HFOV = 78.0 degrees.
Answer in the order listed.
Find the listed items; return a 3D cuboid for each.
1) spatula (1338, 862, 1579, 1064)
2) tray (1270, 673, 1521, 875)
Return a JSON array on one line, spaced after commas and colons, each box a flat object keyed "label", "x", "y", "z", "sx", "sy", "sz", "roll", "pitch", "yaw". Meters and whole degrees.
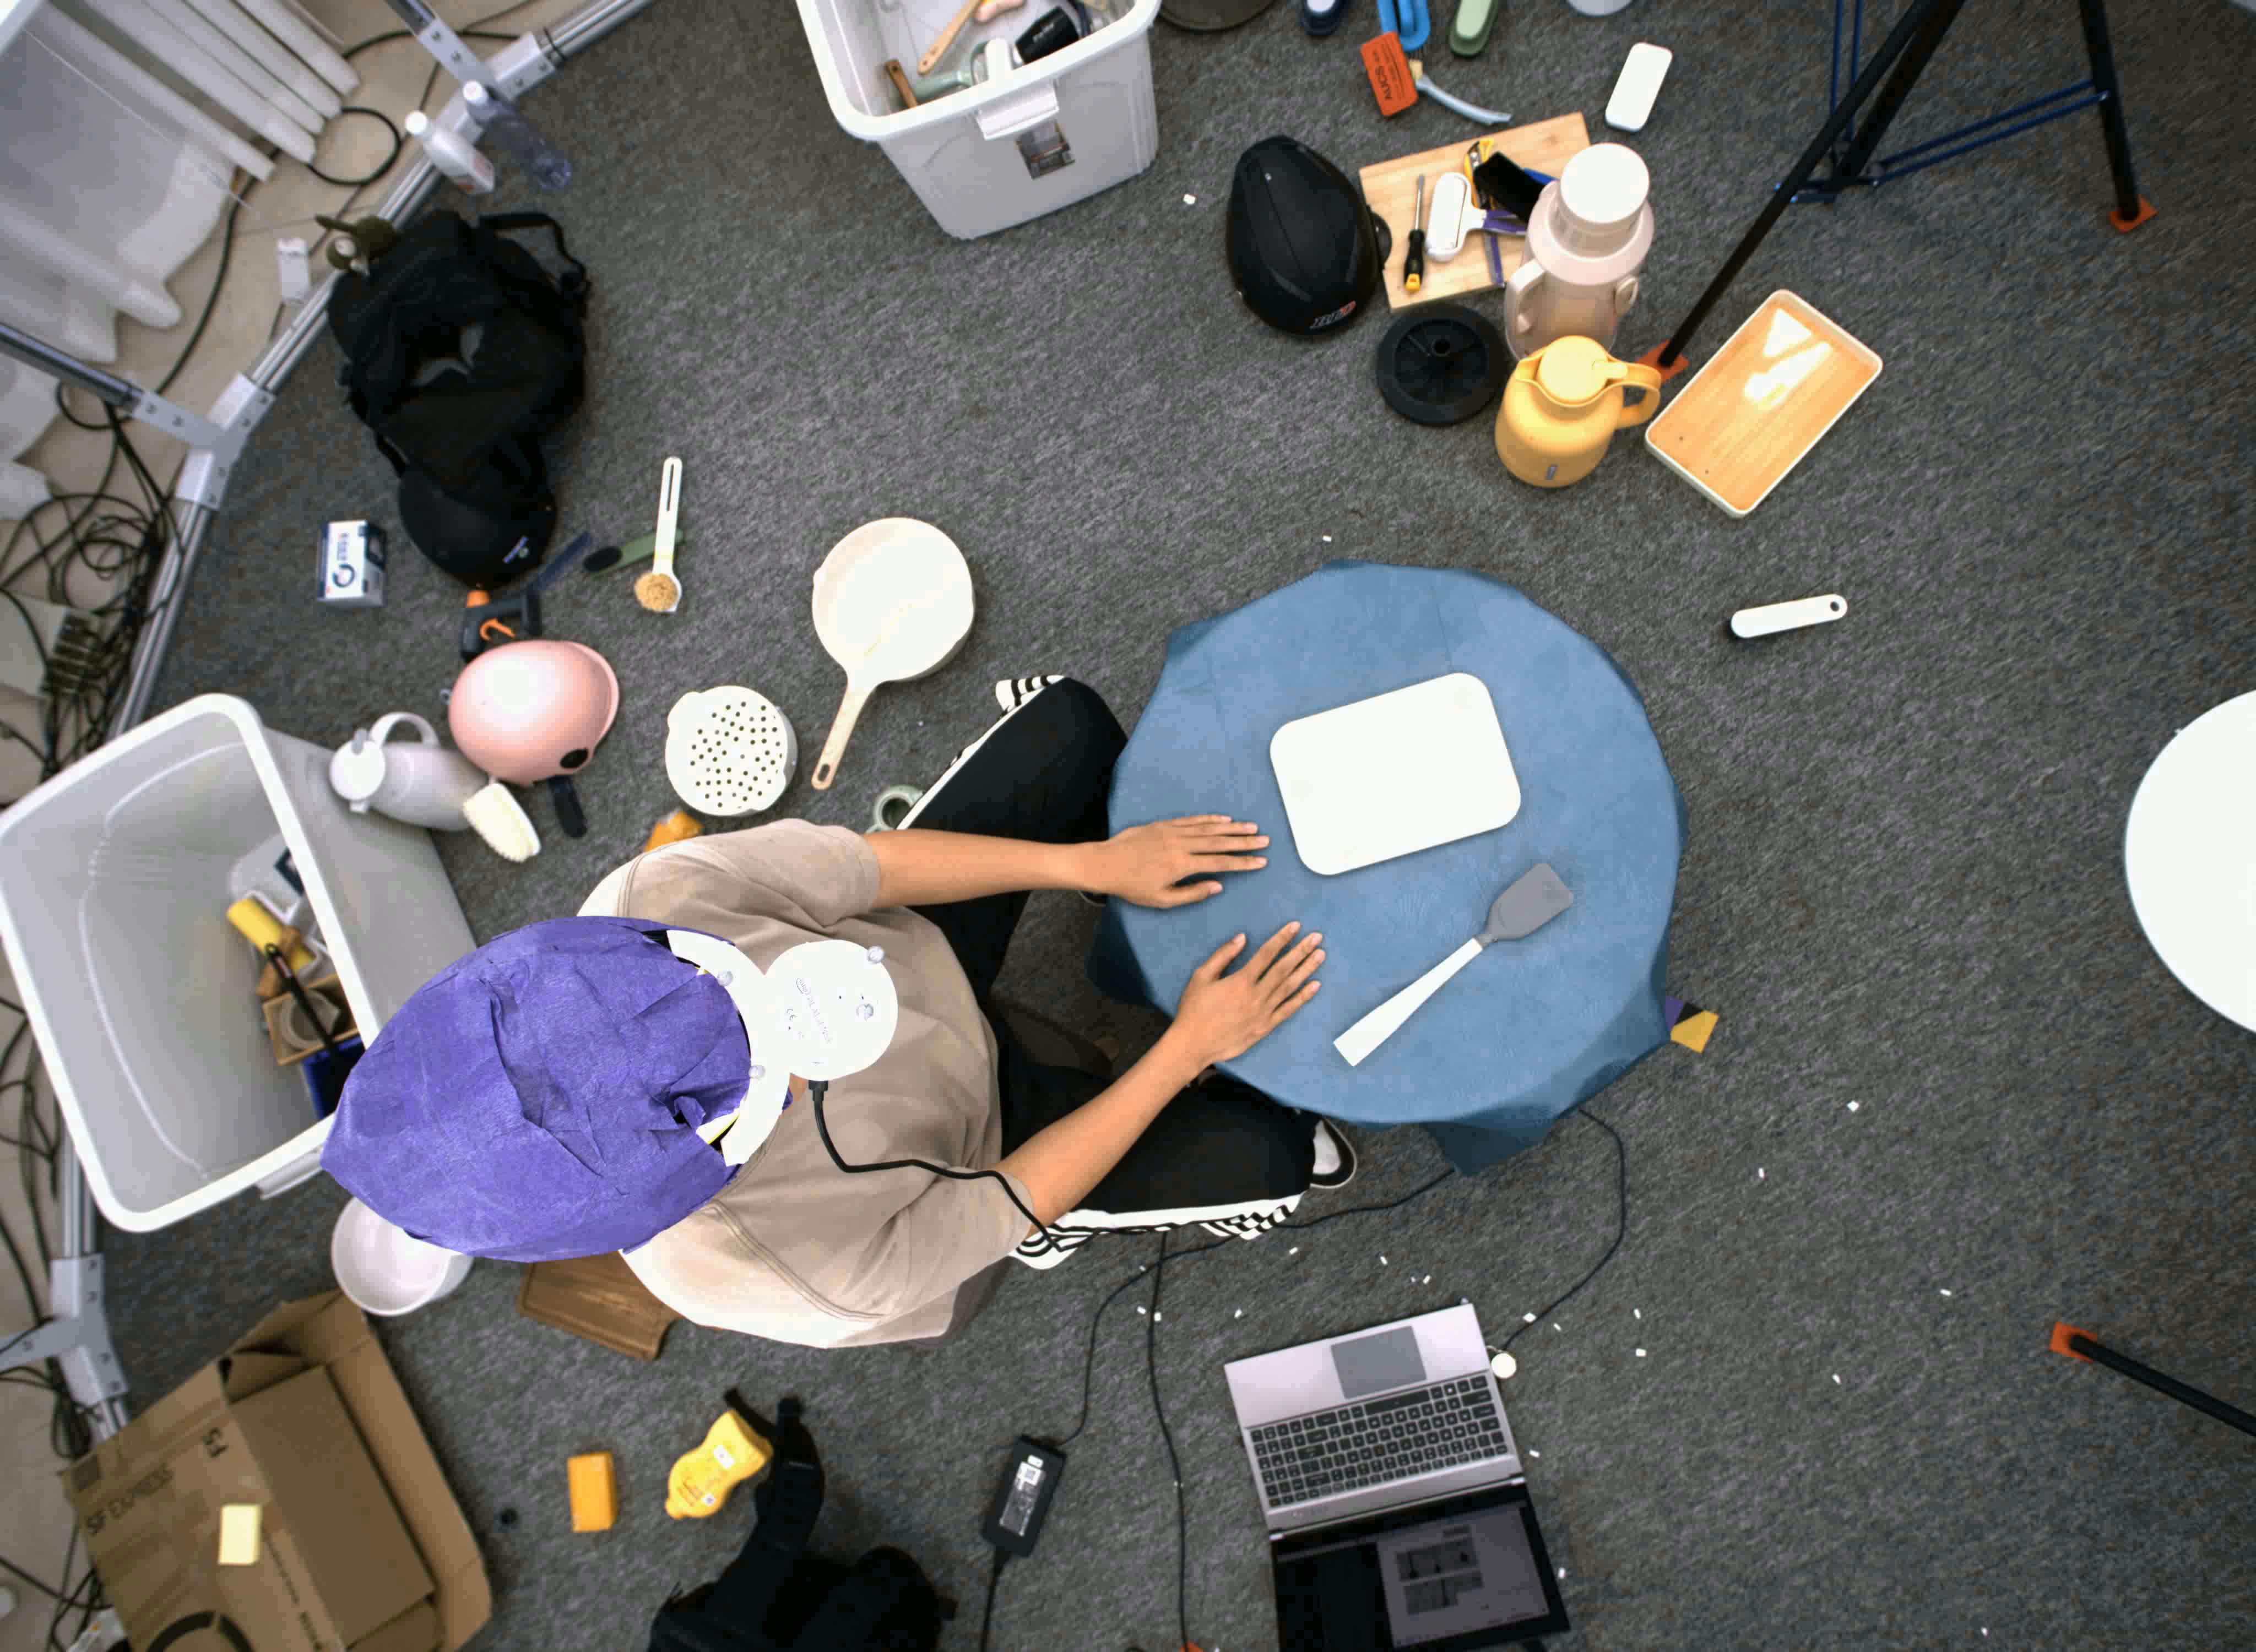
[{"label": "spatula", "x": 0.338, "y": 0.143, "z": 1.427, "sx": 0.289, "sy": 0.032, "sz": 0.058, "roll": -40, "pitch": 76, "yaw": 6}, {"label": "tray", "x": 0.282, "y": -0.056, "z": 1.458, "sx": 0.241, "sy": 0.017, "sz": 0.170, "roll": -16, "pitch": 83, "yaw": 9}]
